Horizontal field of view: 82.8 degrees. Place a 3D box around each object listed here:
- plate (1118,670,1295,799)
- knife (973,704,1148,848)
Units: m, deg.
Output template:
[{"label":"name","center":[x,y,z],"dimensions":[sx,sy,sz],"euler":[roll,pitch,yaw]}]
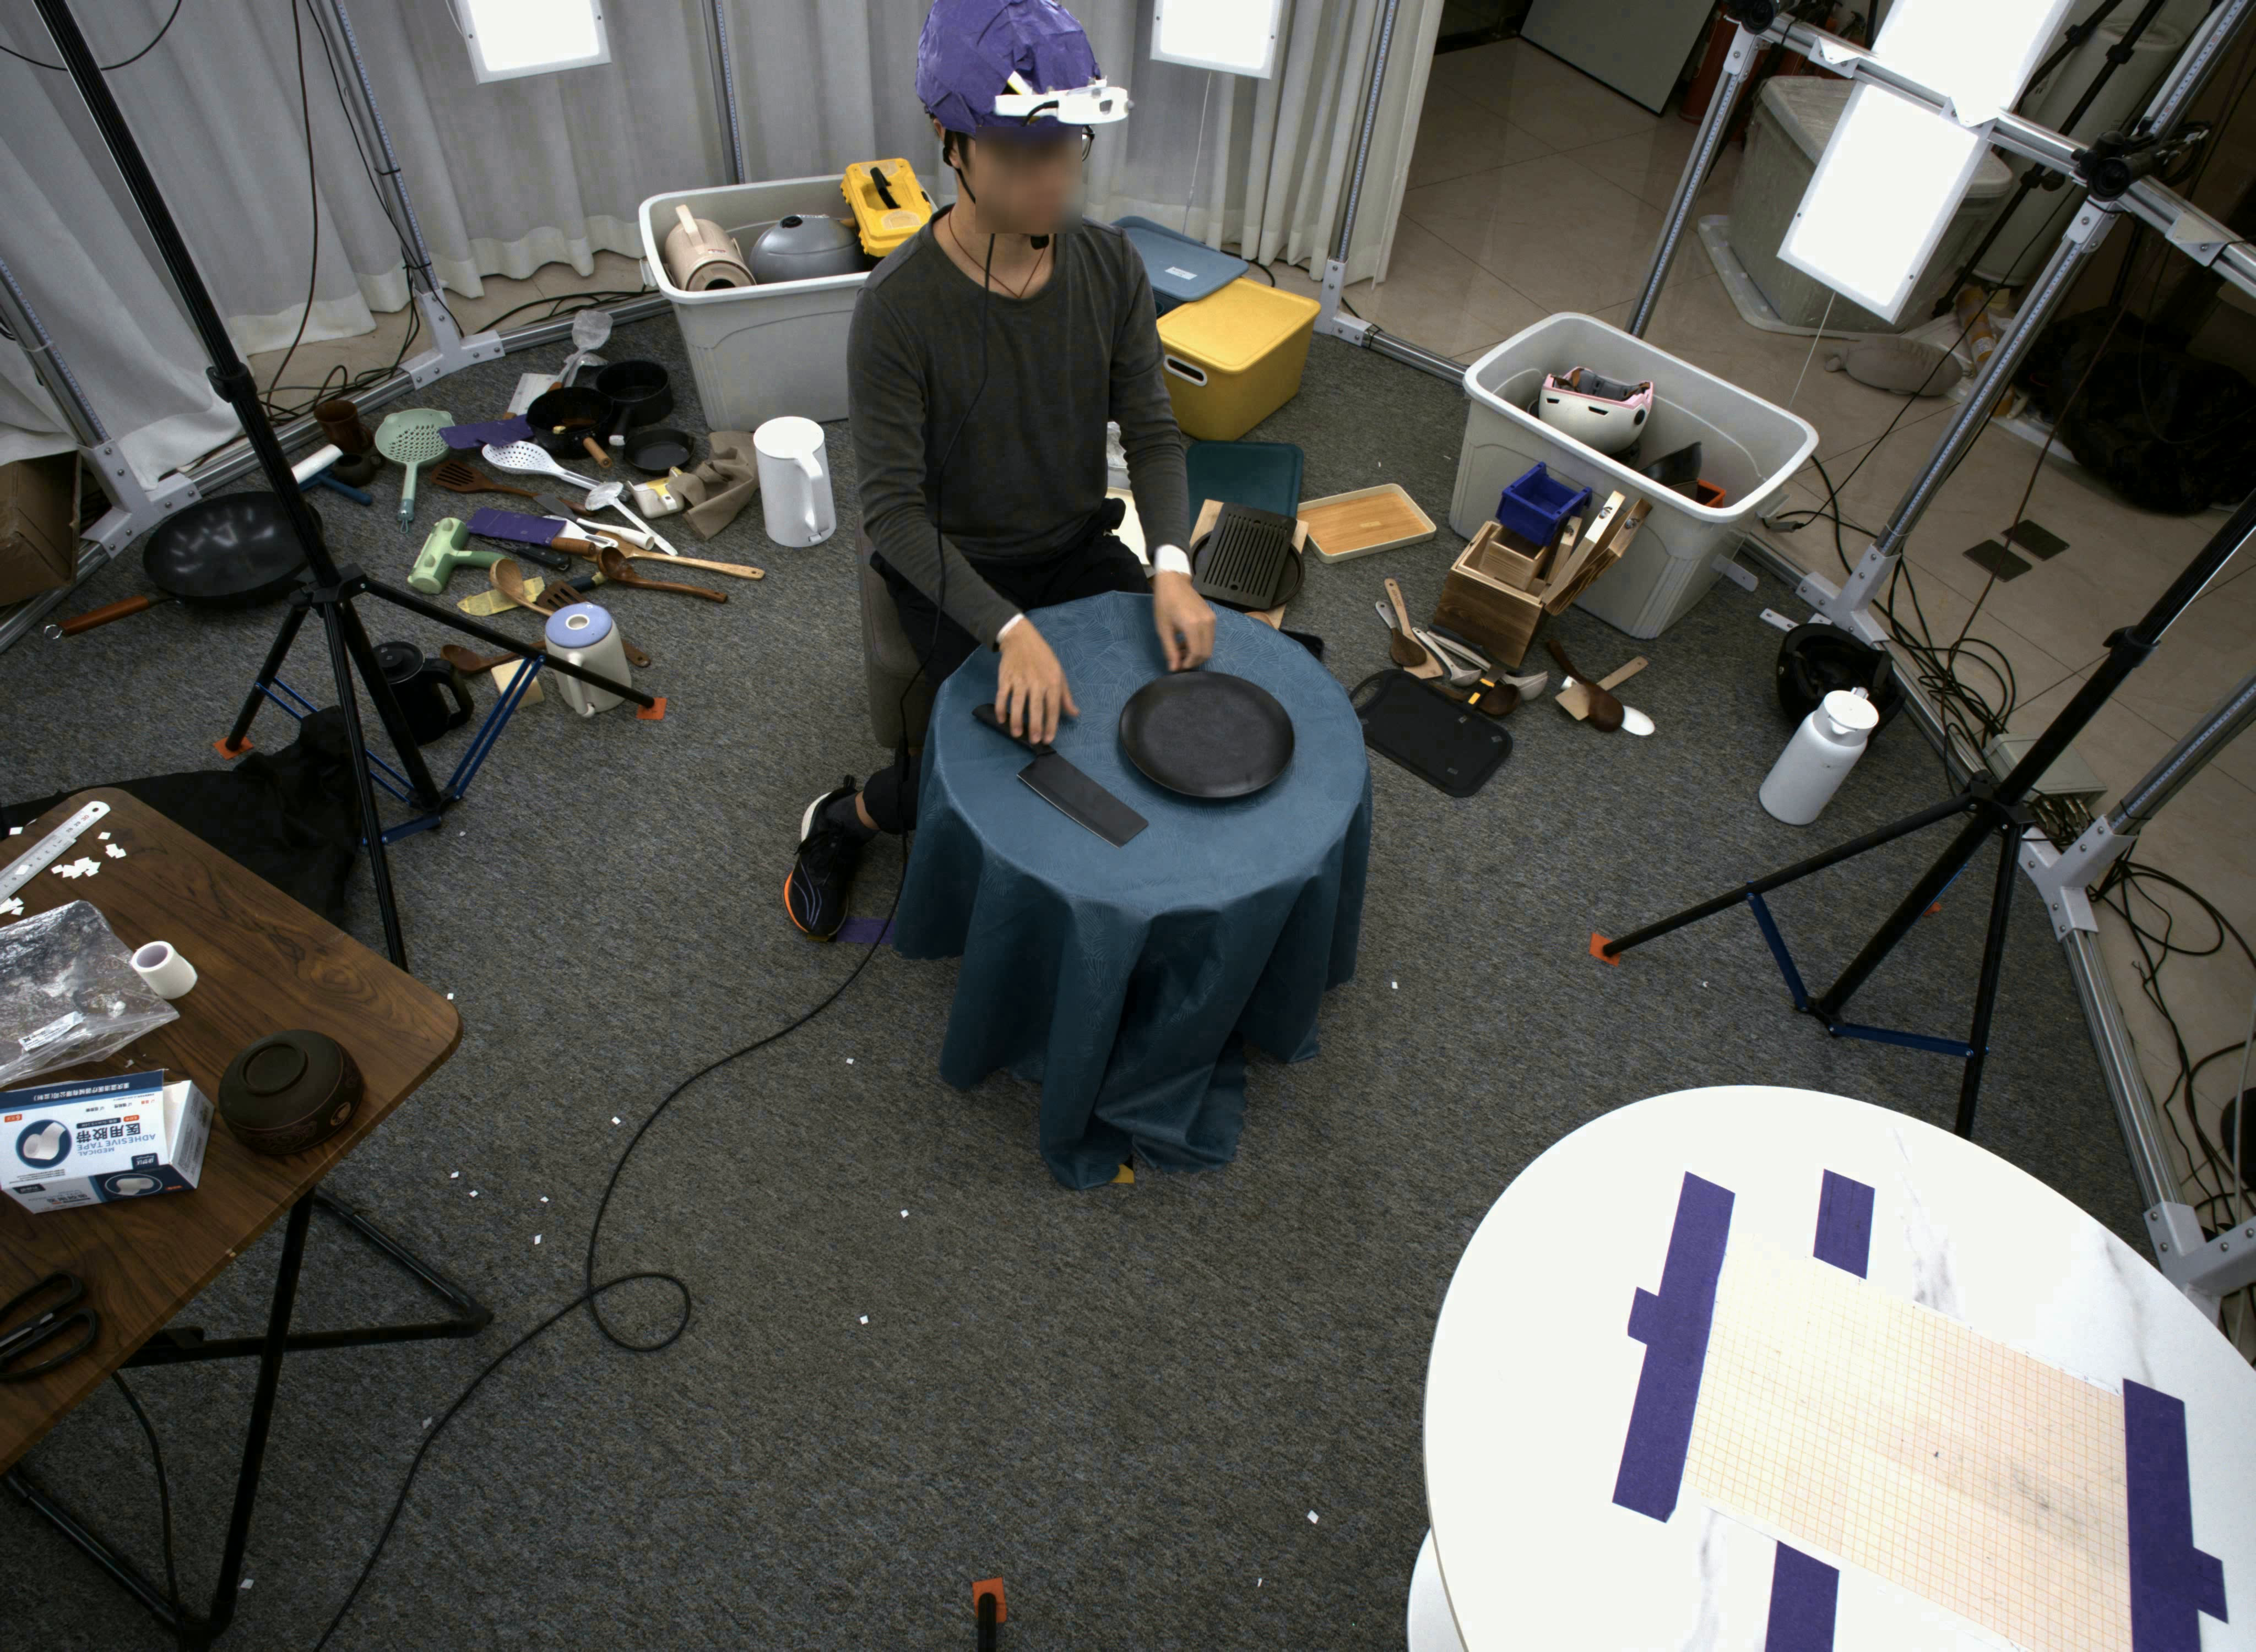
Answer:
[{"label":"plate","center":[0.108,-0.124,1.767],"dimensions":[0.244,0.023,0.250],"euler":[2,49,-2]},{"label":"knife","center":[-0.101,-0.072,1.714],"dimensions":[0.081,0.020,0.307],"euler":[-34,61,-28]}]
